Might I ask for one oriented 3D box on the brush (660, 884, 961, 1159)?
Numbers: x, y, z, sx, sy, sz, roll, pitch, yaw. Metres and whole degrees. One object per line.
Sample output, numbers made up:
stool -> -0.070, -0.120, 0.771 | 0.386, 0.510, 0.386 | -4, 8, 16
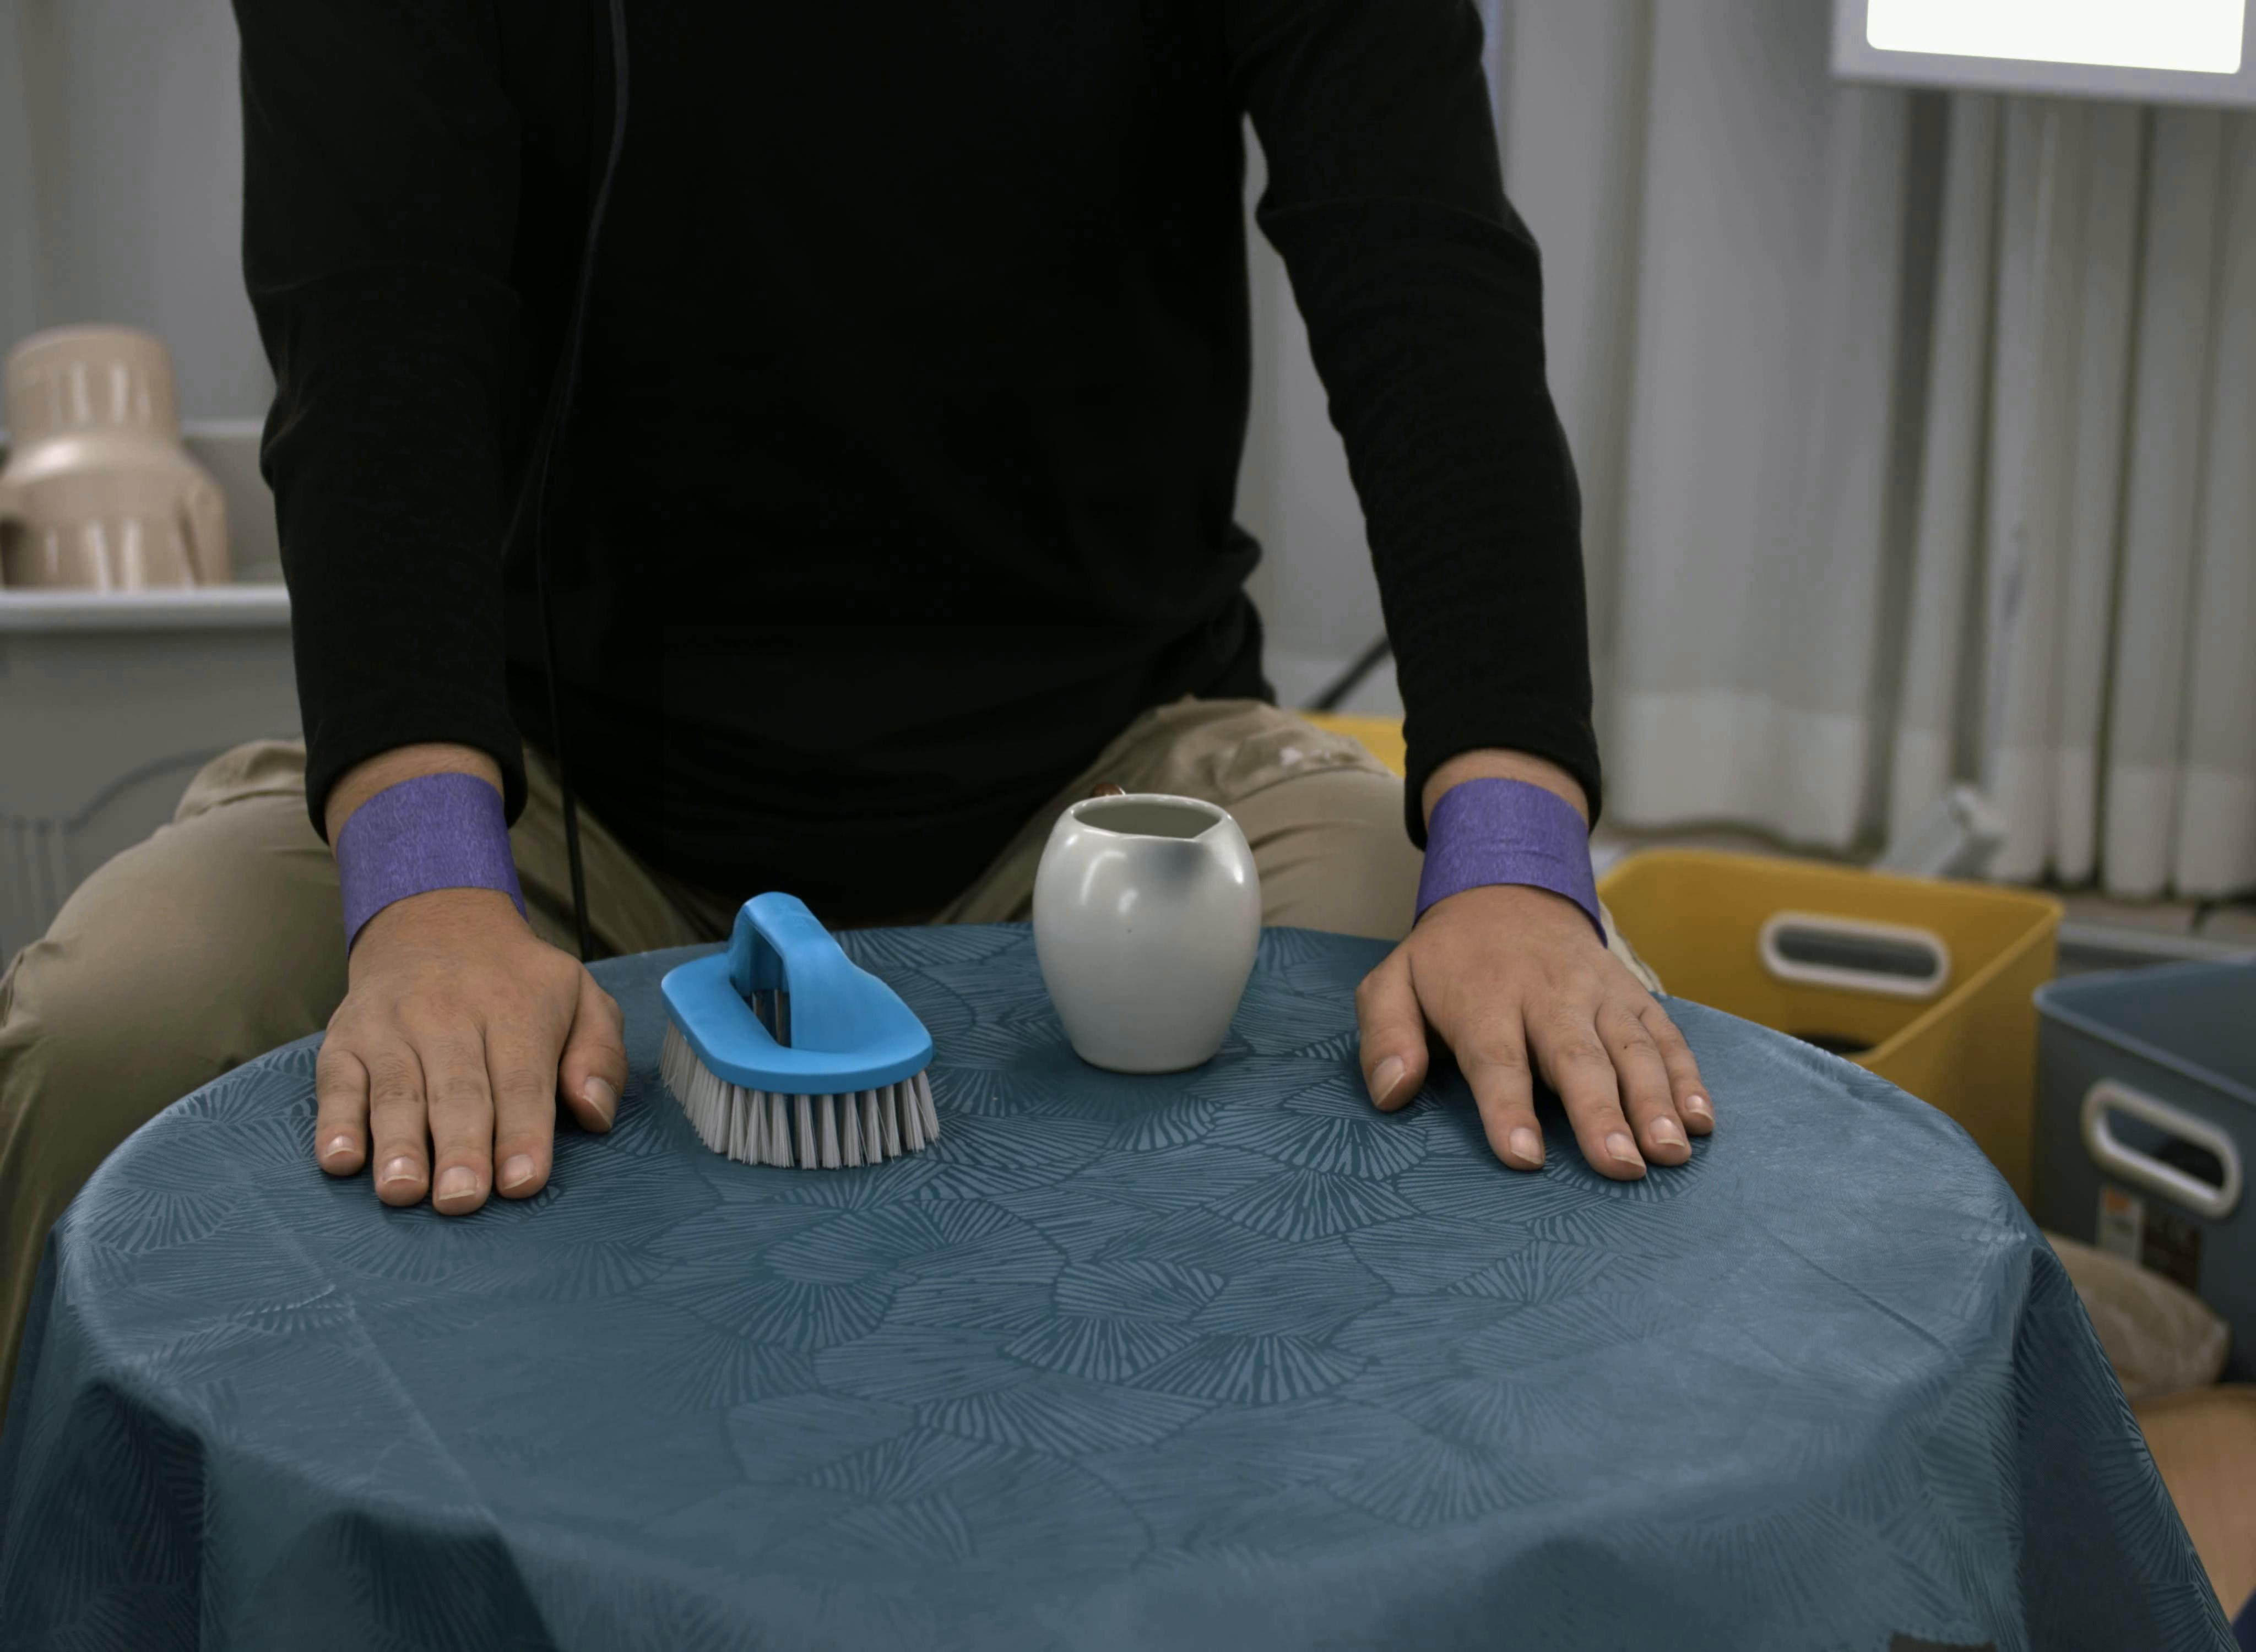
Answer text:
brush -> -0.105, 0.057, 1.694 | 0.084, 0.064, 0.140 | -8, 16, -14

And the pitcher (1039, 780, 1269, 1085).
pitcher -> 0.006, 0.034, 1.740 | 0.076, 0.088, 0.118 | 3, 19, -12
